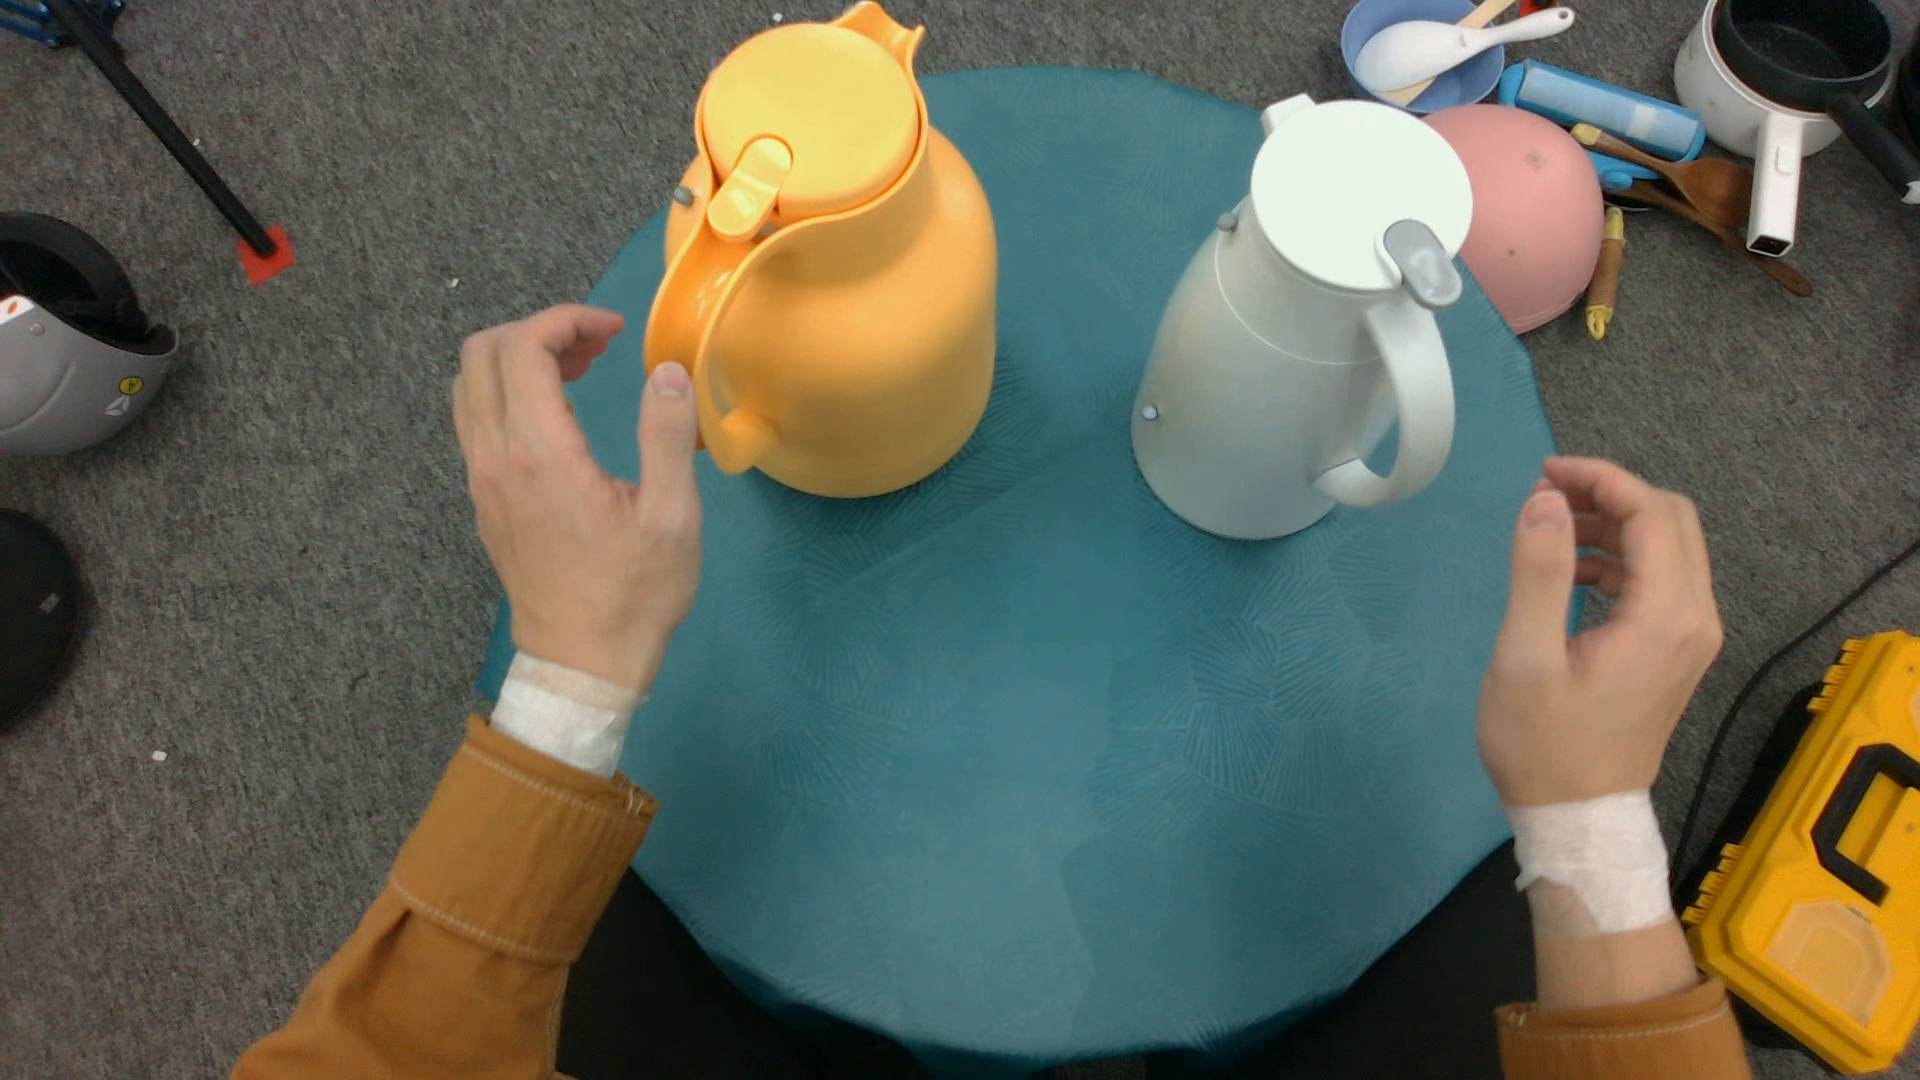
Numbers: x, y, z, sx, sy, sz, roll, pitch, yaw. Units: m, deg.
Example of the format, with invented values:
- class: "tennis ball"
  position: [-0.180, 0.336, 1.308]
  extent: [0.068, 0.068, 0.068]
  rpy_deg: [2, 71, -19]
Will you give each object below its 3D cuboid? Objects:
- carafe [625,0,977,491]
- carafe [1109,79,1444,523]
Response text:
- class: "carafe"
  position: [-0.084, -0.125, 0.674]
  extent: [0.163, 0.259, 0.203]
  rpy_deg: [30, 70, 11]
- class: "carafe"
  position: [0.163, -0.097, 0.678]
  extent: [0.133, 0.248, 0.168]
  rpy_deg: [-22, 73, -10]
